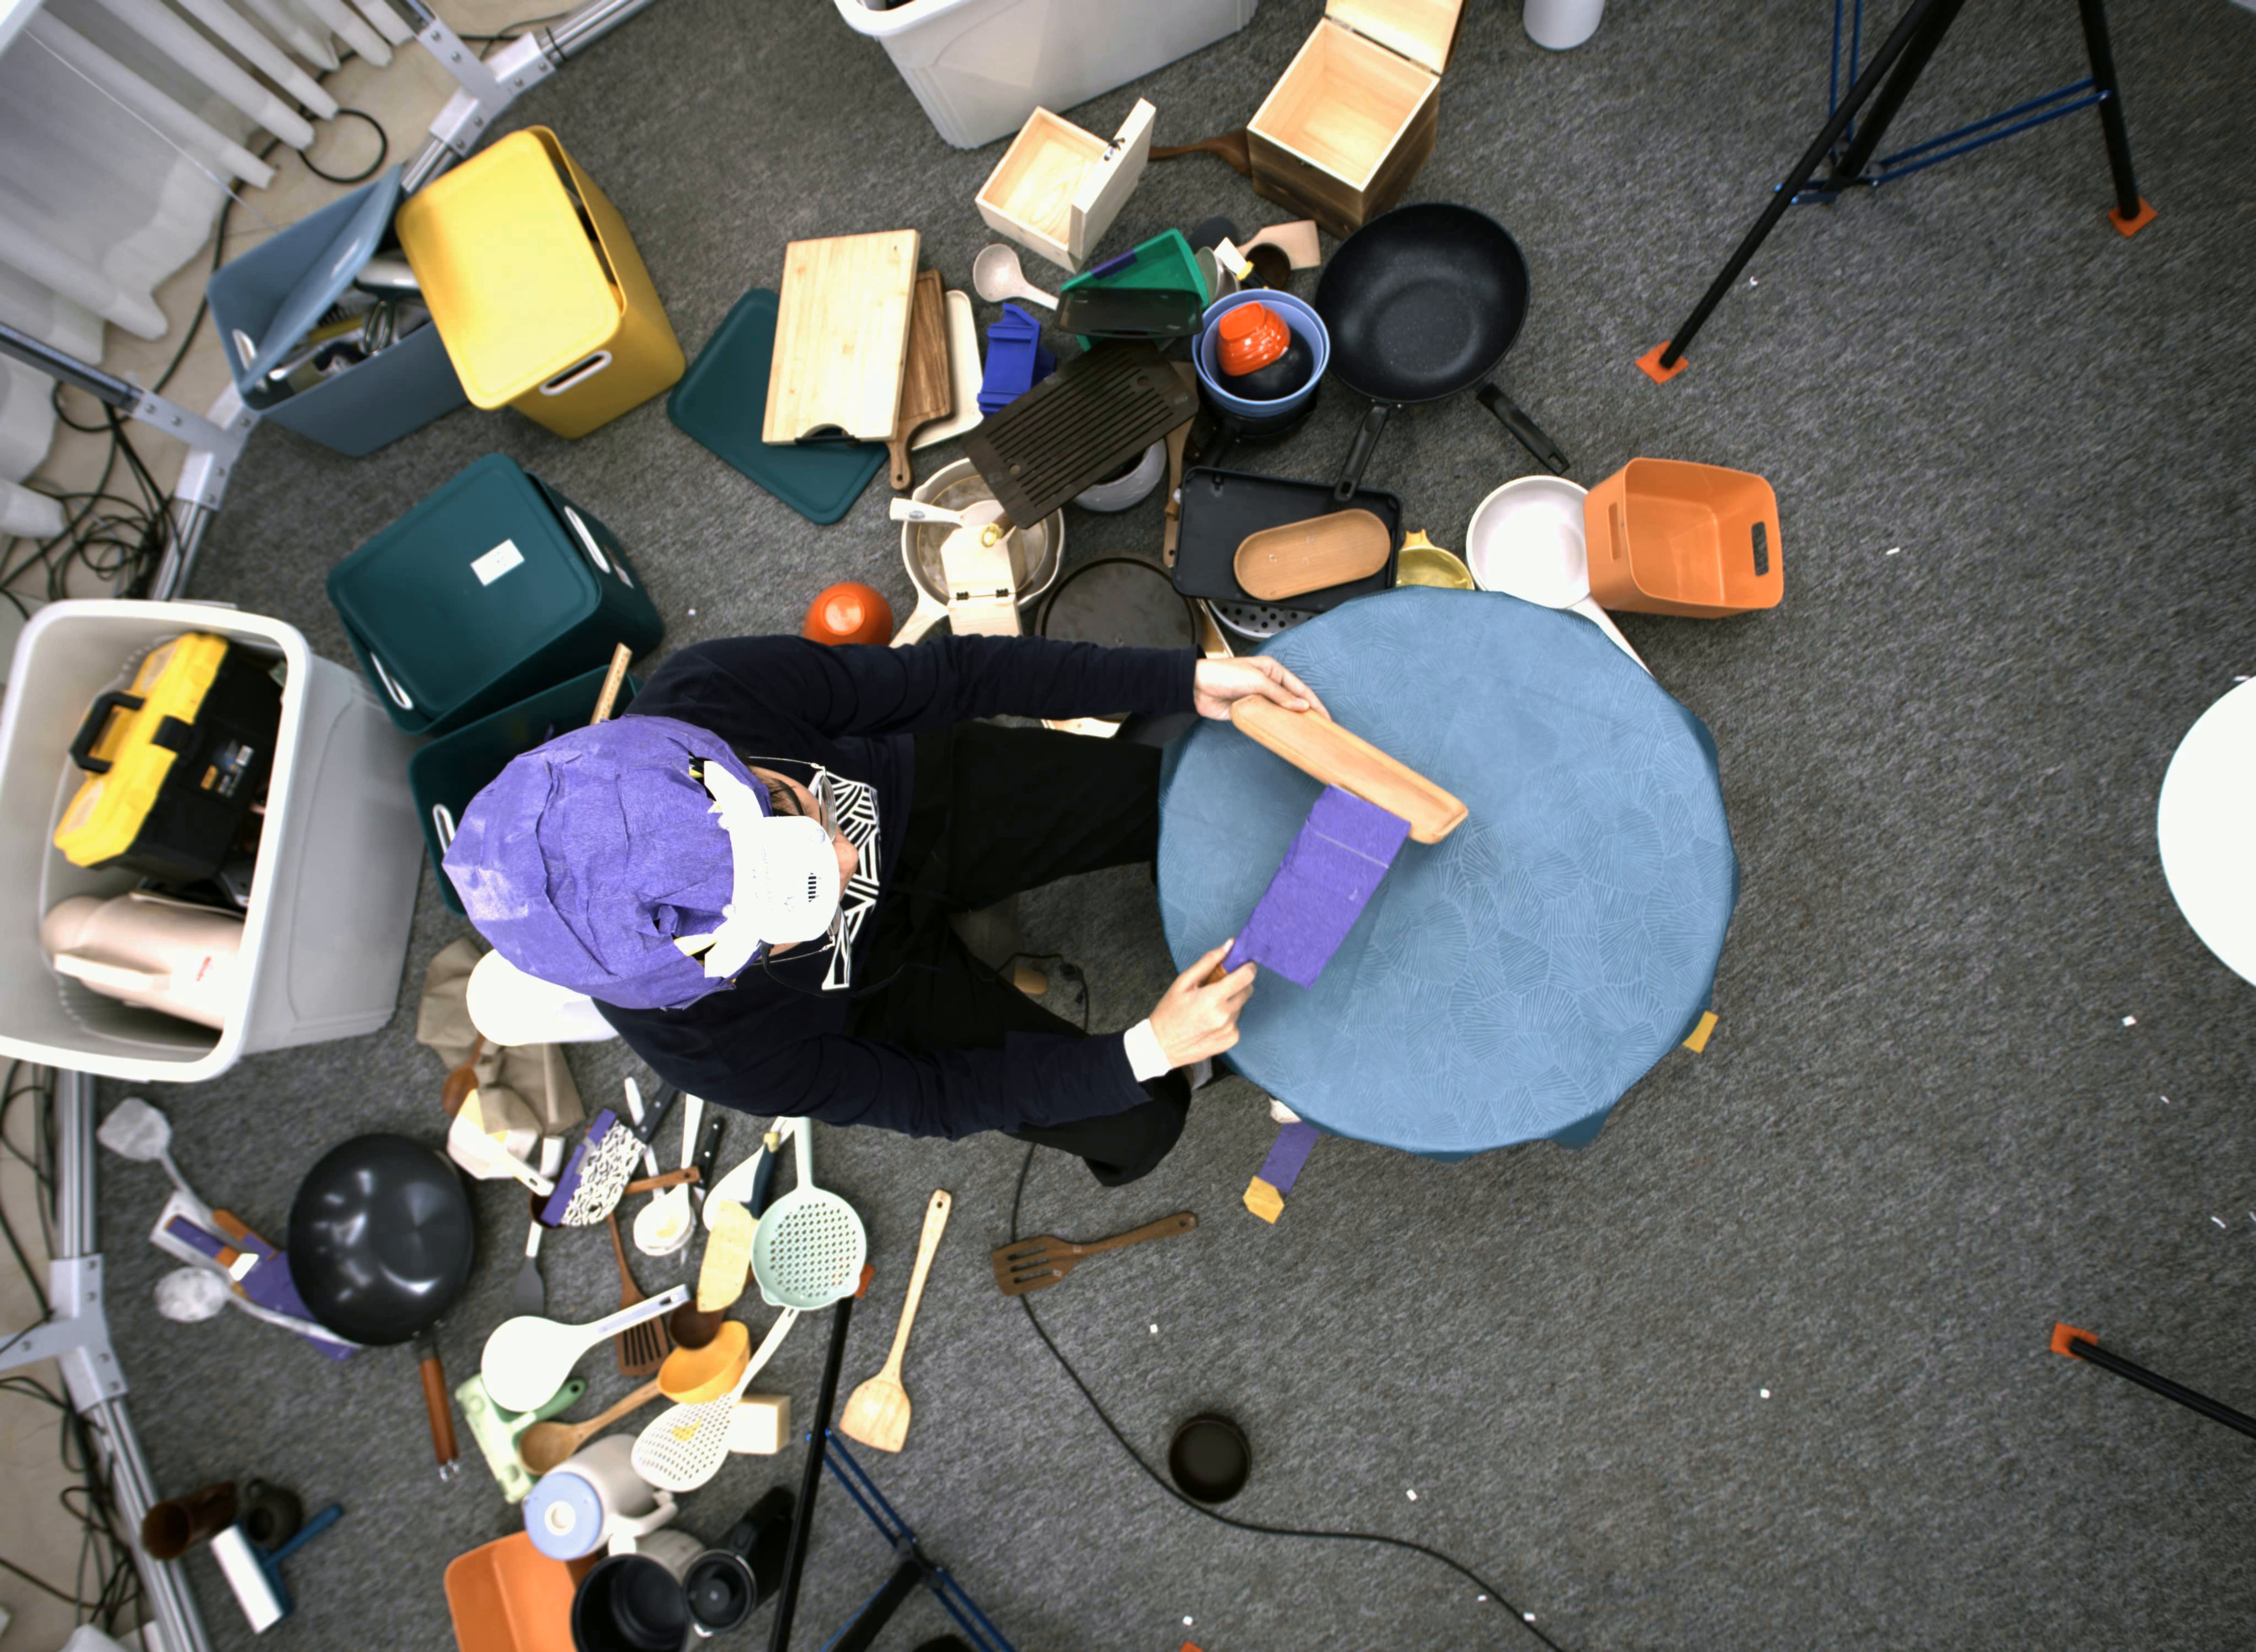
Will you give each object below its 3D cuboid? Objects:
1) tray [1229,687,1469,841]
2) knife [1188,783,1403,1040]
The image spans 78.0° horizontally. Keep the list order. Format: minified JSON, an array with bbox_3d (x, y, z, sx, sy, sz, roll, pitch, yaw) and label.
[{"bbox_3d":[0.221,-0.066,1.385,0.249,0.128,0.023,34,117,20],"label":"tray"},{"bbox_3d":[0.162,0.104,1.359,0.104,0.031,0.322,27,121,0],"label":"knife"}]
